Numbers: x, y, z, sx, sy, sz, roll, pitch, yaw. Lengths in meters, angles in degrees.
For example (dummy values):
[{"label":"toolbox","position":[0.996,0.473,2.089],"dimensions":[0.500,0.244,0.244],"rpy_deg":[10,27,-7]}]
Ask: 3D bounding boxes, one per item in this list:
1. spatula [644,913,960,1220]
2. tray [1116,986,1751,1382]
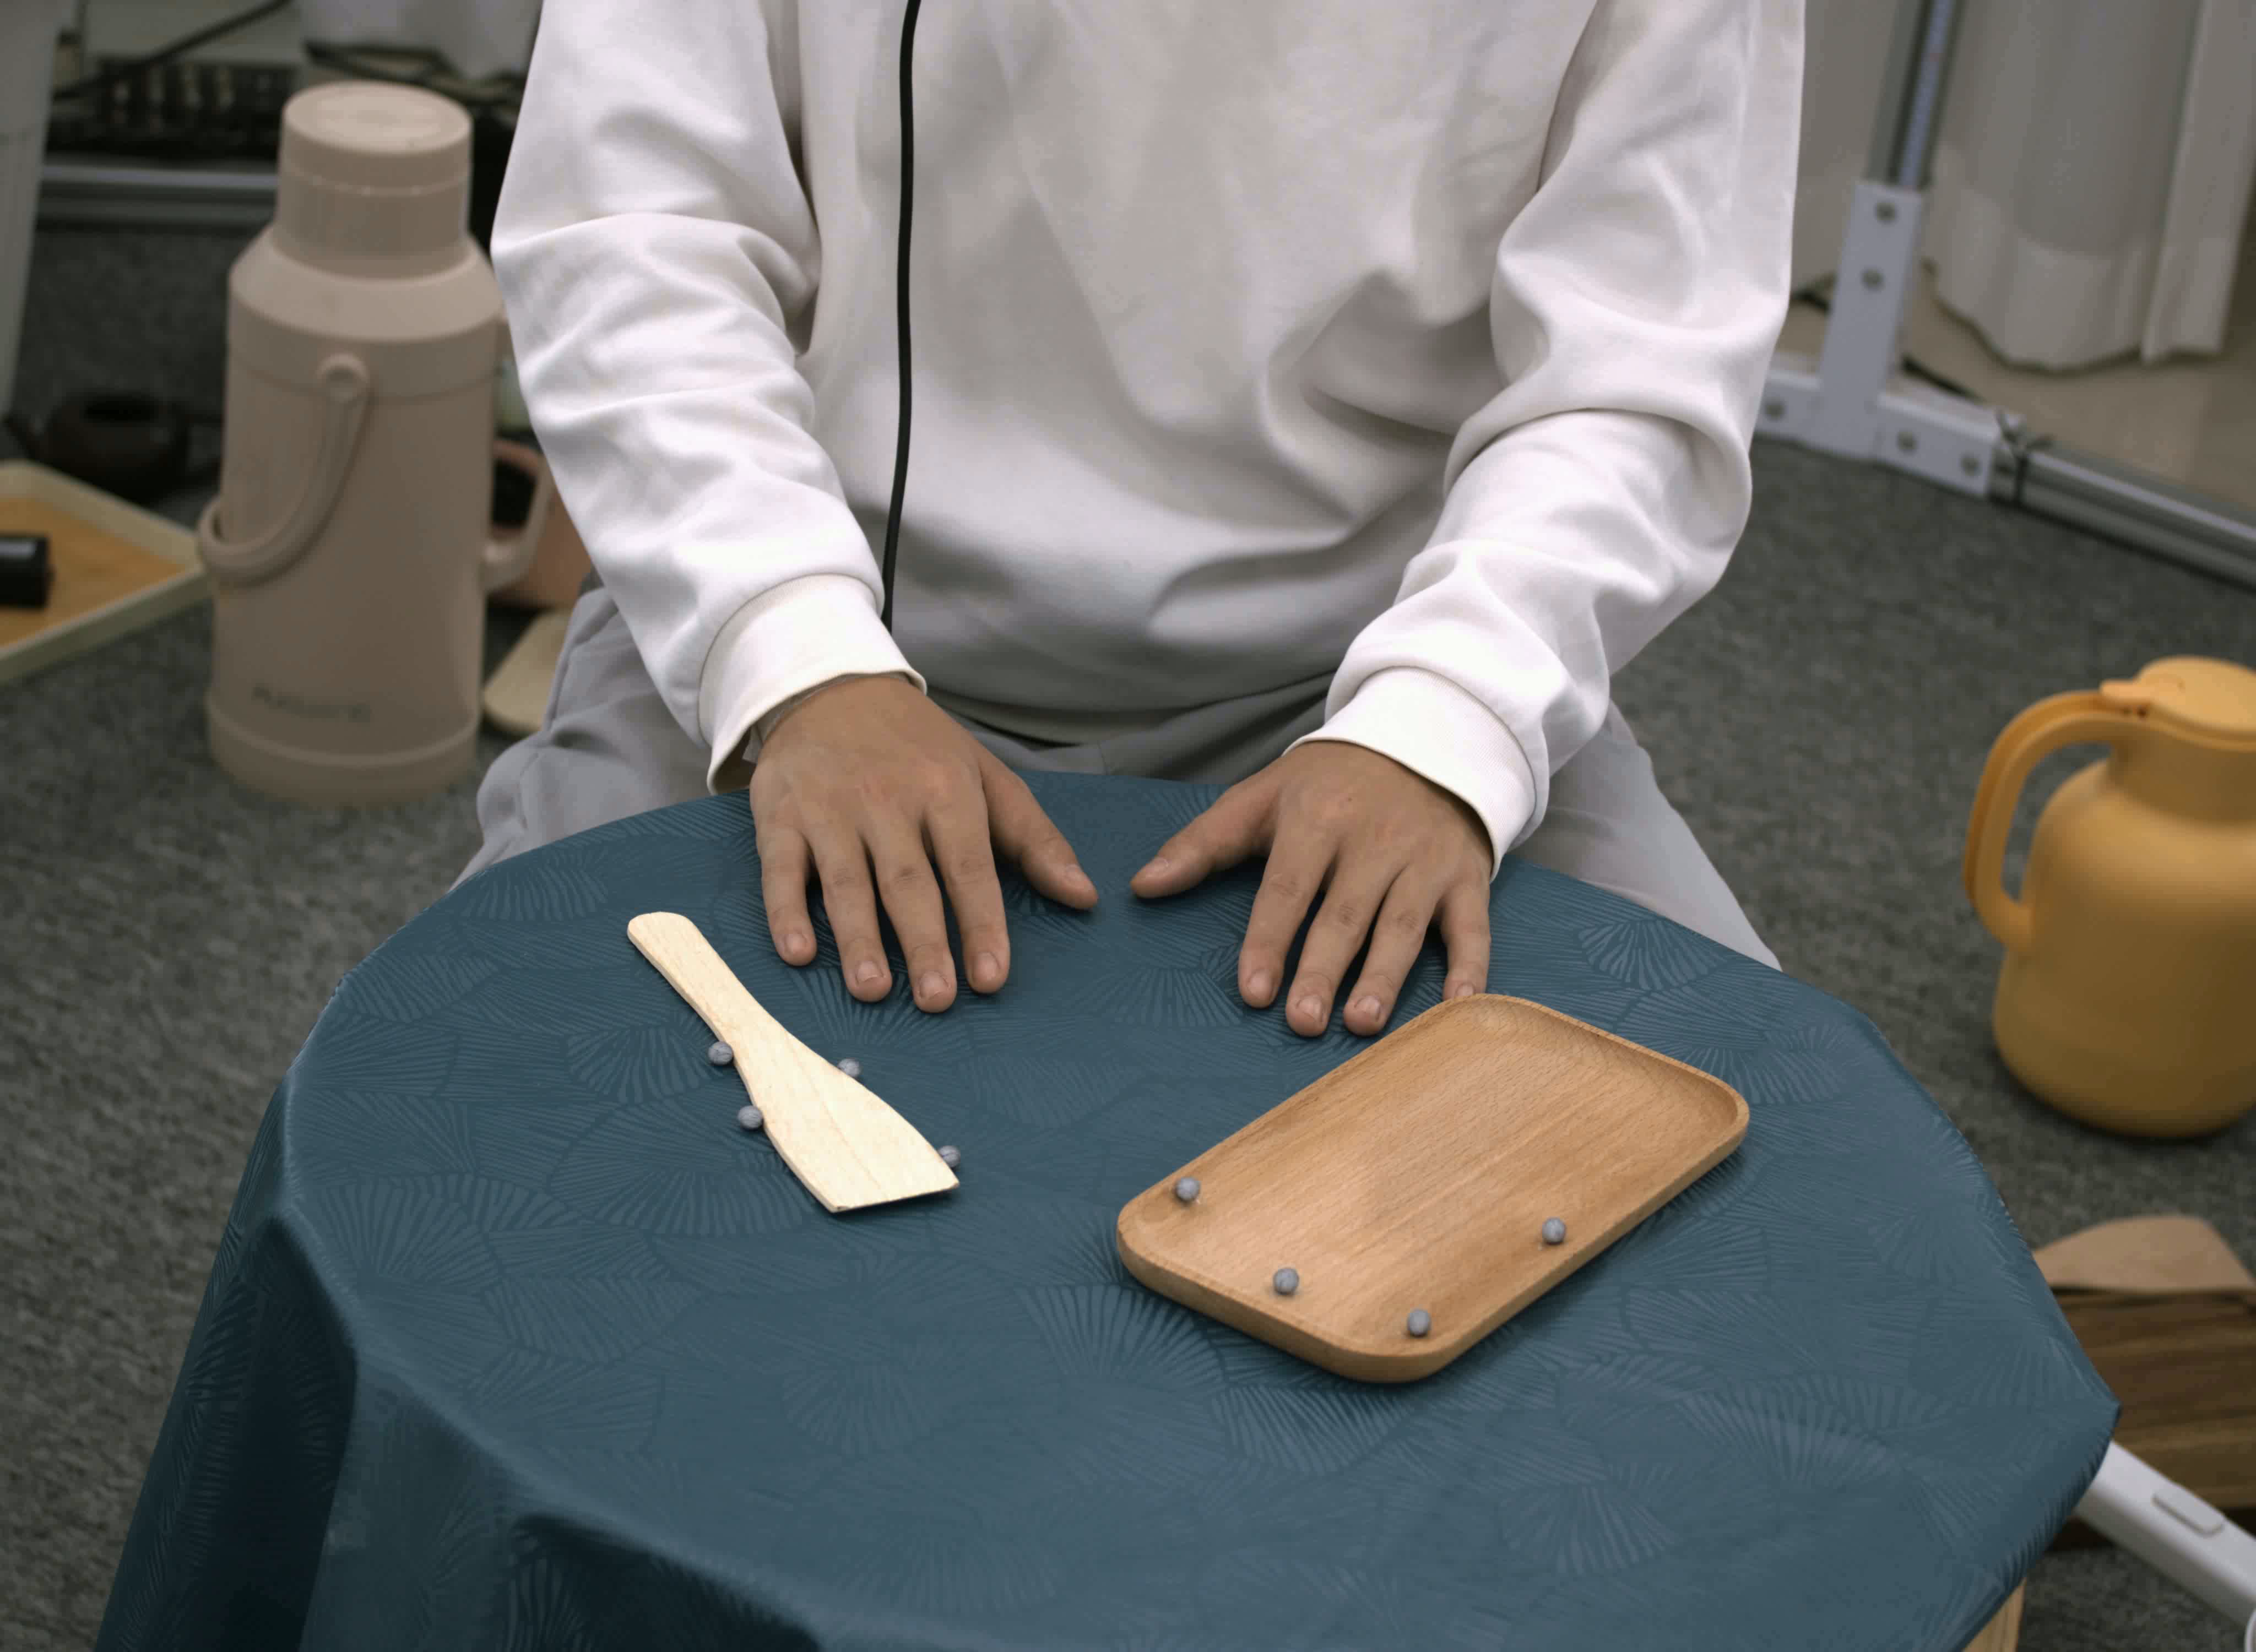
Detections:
[{"label":"spatula","position":[-0.122,0.081,1.853],"dimensions":[0.050,0.005,0.210],"rpy_deg":[-7,30,-27]},{"label":"tray","position":[0.107,0.120,1.819],"dimensions":[0.131,0.023,0.250],"rpy_deg":[25,31,28]}]
